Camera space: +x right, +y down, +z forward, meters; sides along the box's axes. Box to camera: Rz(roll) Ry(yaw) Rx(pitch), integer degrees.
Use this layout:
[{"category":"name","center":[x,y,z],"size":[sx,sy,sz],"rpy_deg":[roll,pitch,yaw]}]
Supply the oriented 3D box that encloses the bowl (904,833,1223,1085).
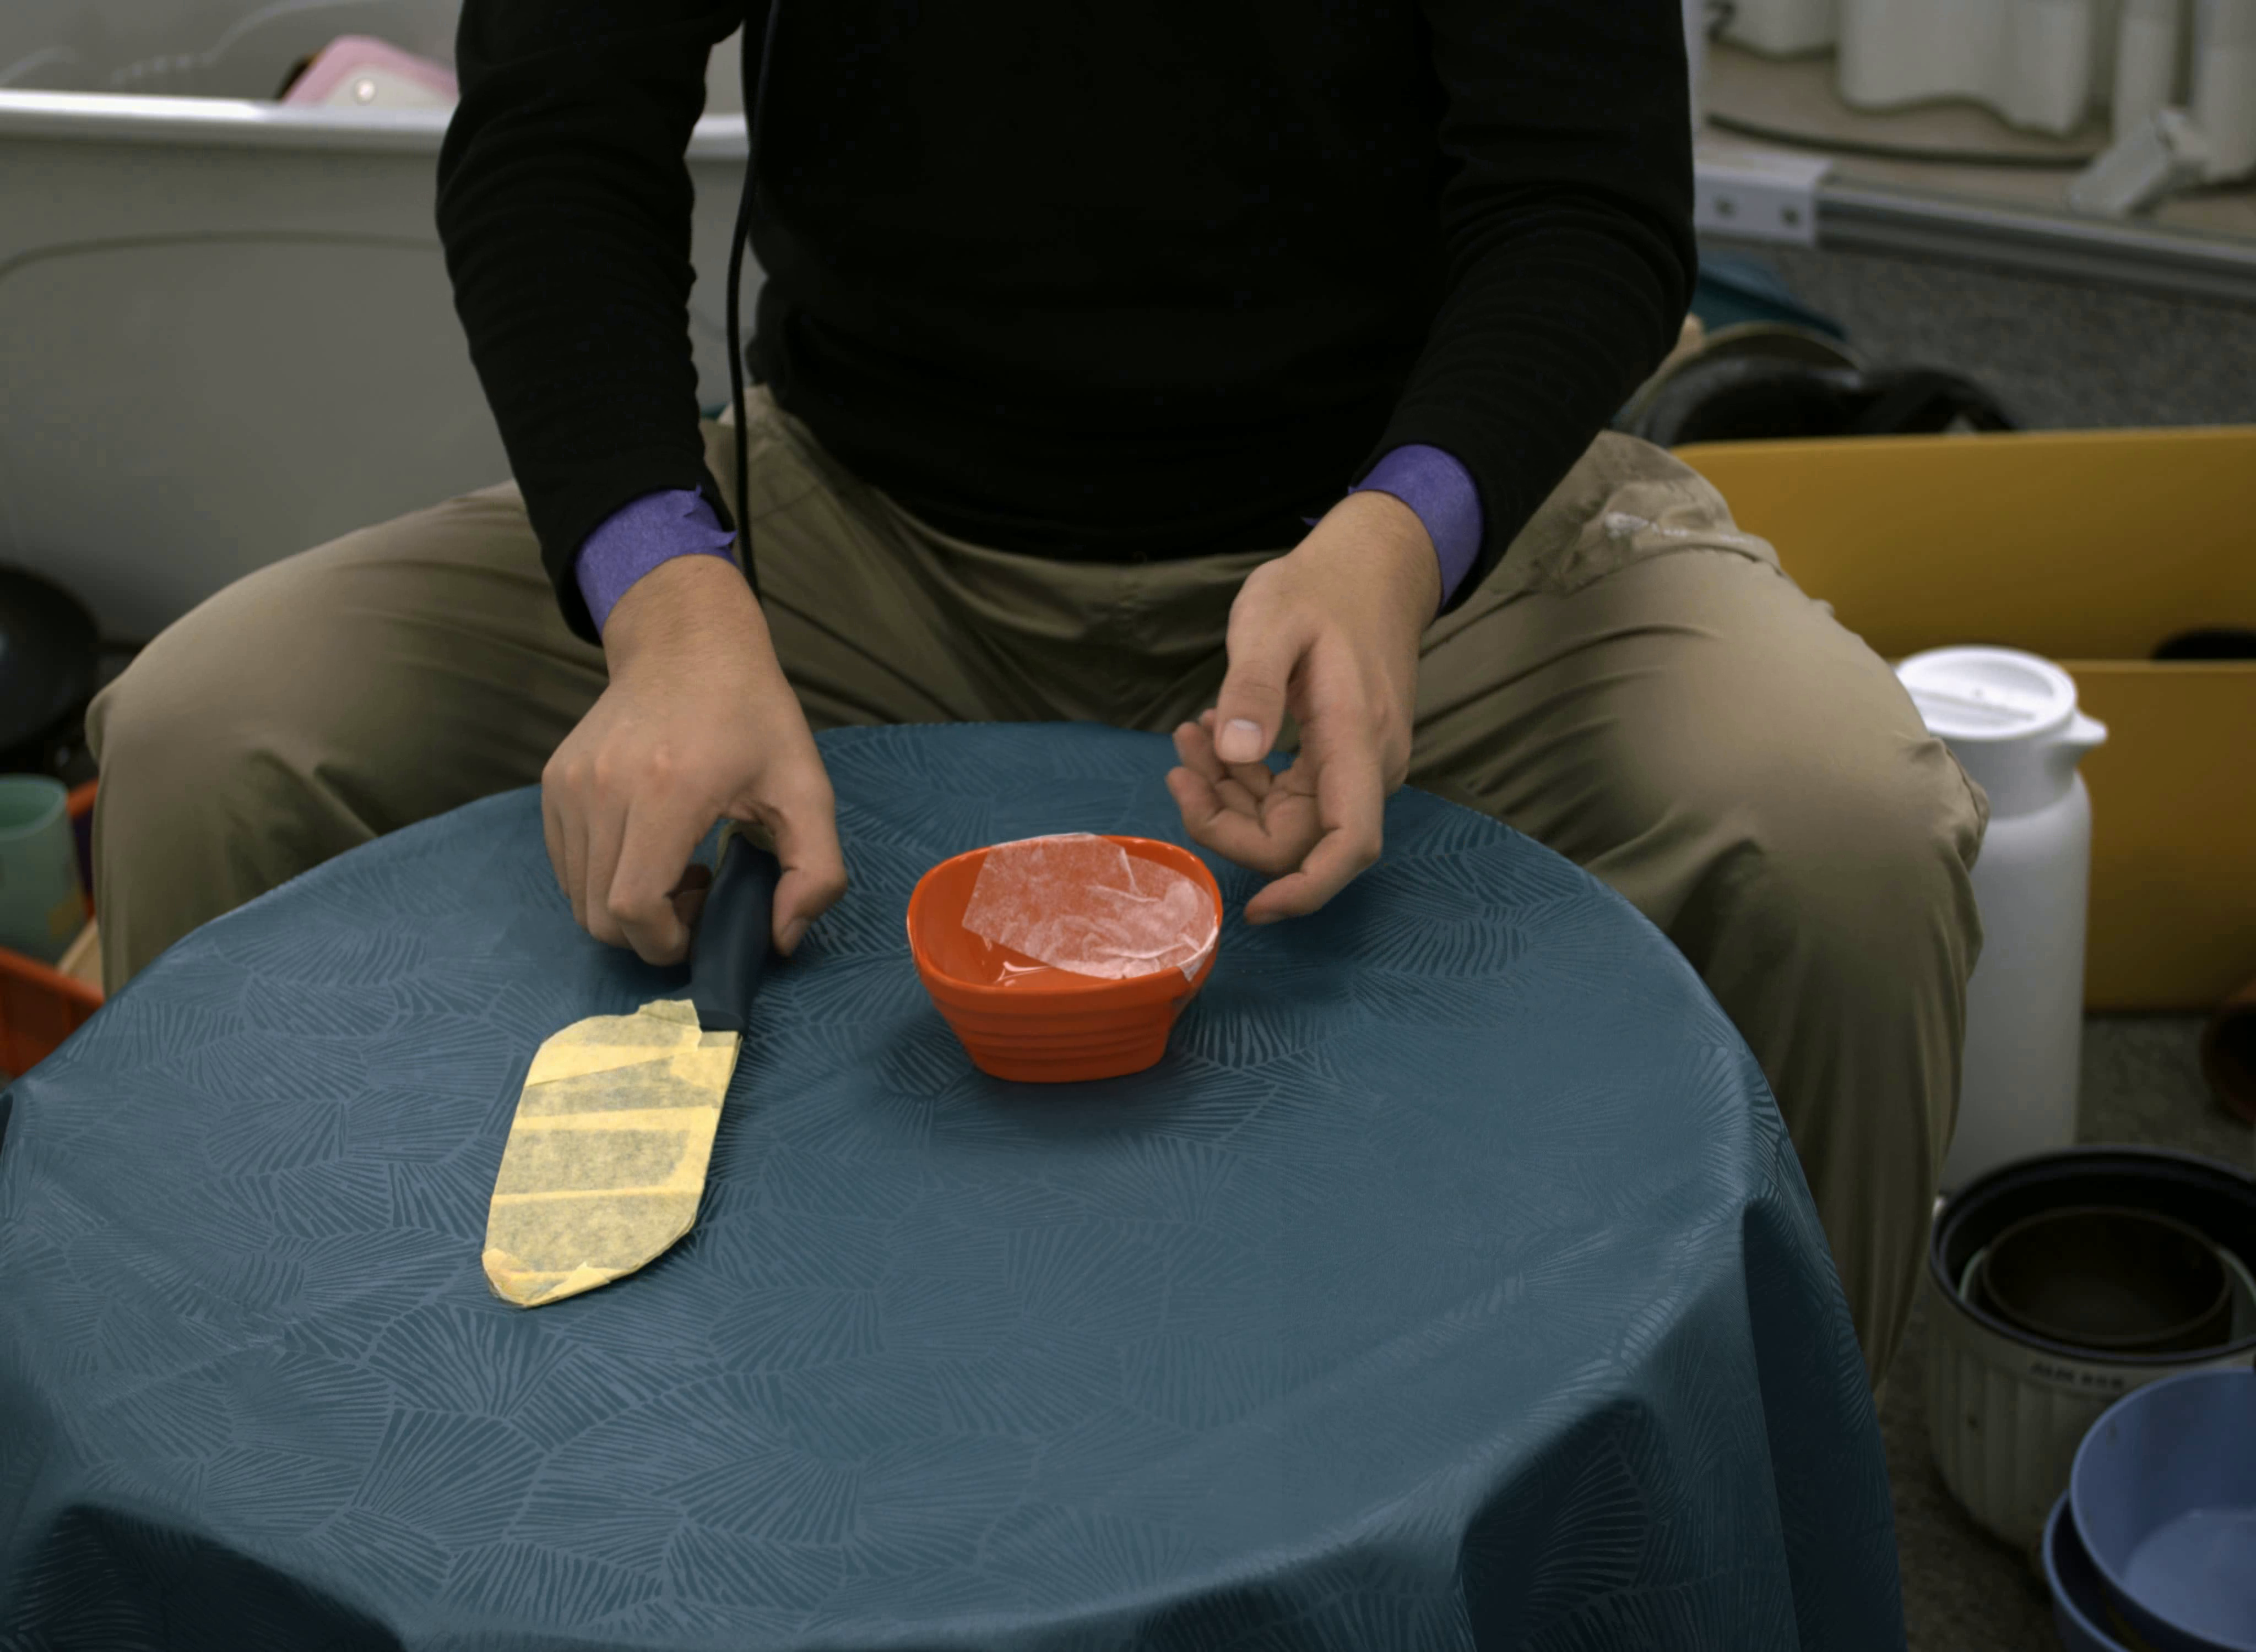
[{"category":"bowl","center":[-0.021,0.050,1.943],"size":[0.118,0.051,0.121],"rpy_deg":[-3,28,2]}]

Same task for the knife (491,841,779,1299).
[{"category":"knife","center":[-0.167,0.082,1.934],"size":[0.080,0.027,0.294],"rpy_deg":[1,29,8]}]
